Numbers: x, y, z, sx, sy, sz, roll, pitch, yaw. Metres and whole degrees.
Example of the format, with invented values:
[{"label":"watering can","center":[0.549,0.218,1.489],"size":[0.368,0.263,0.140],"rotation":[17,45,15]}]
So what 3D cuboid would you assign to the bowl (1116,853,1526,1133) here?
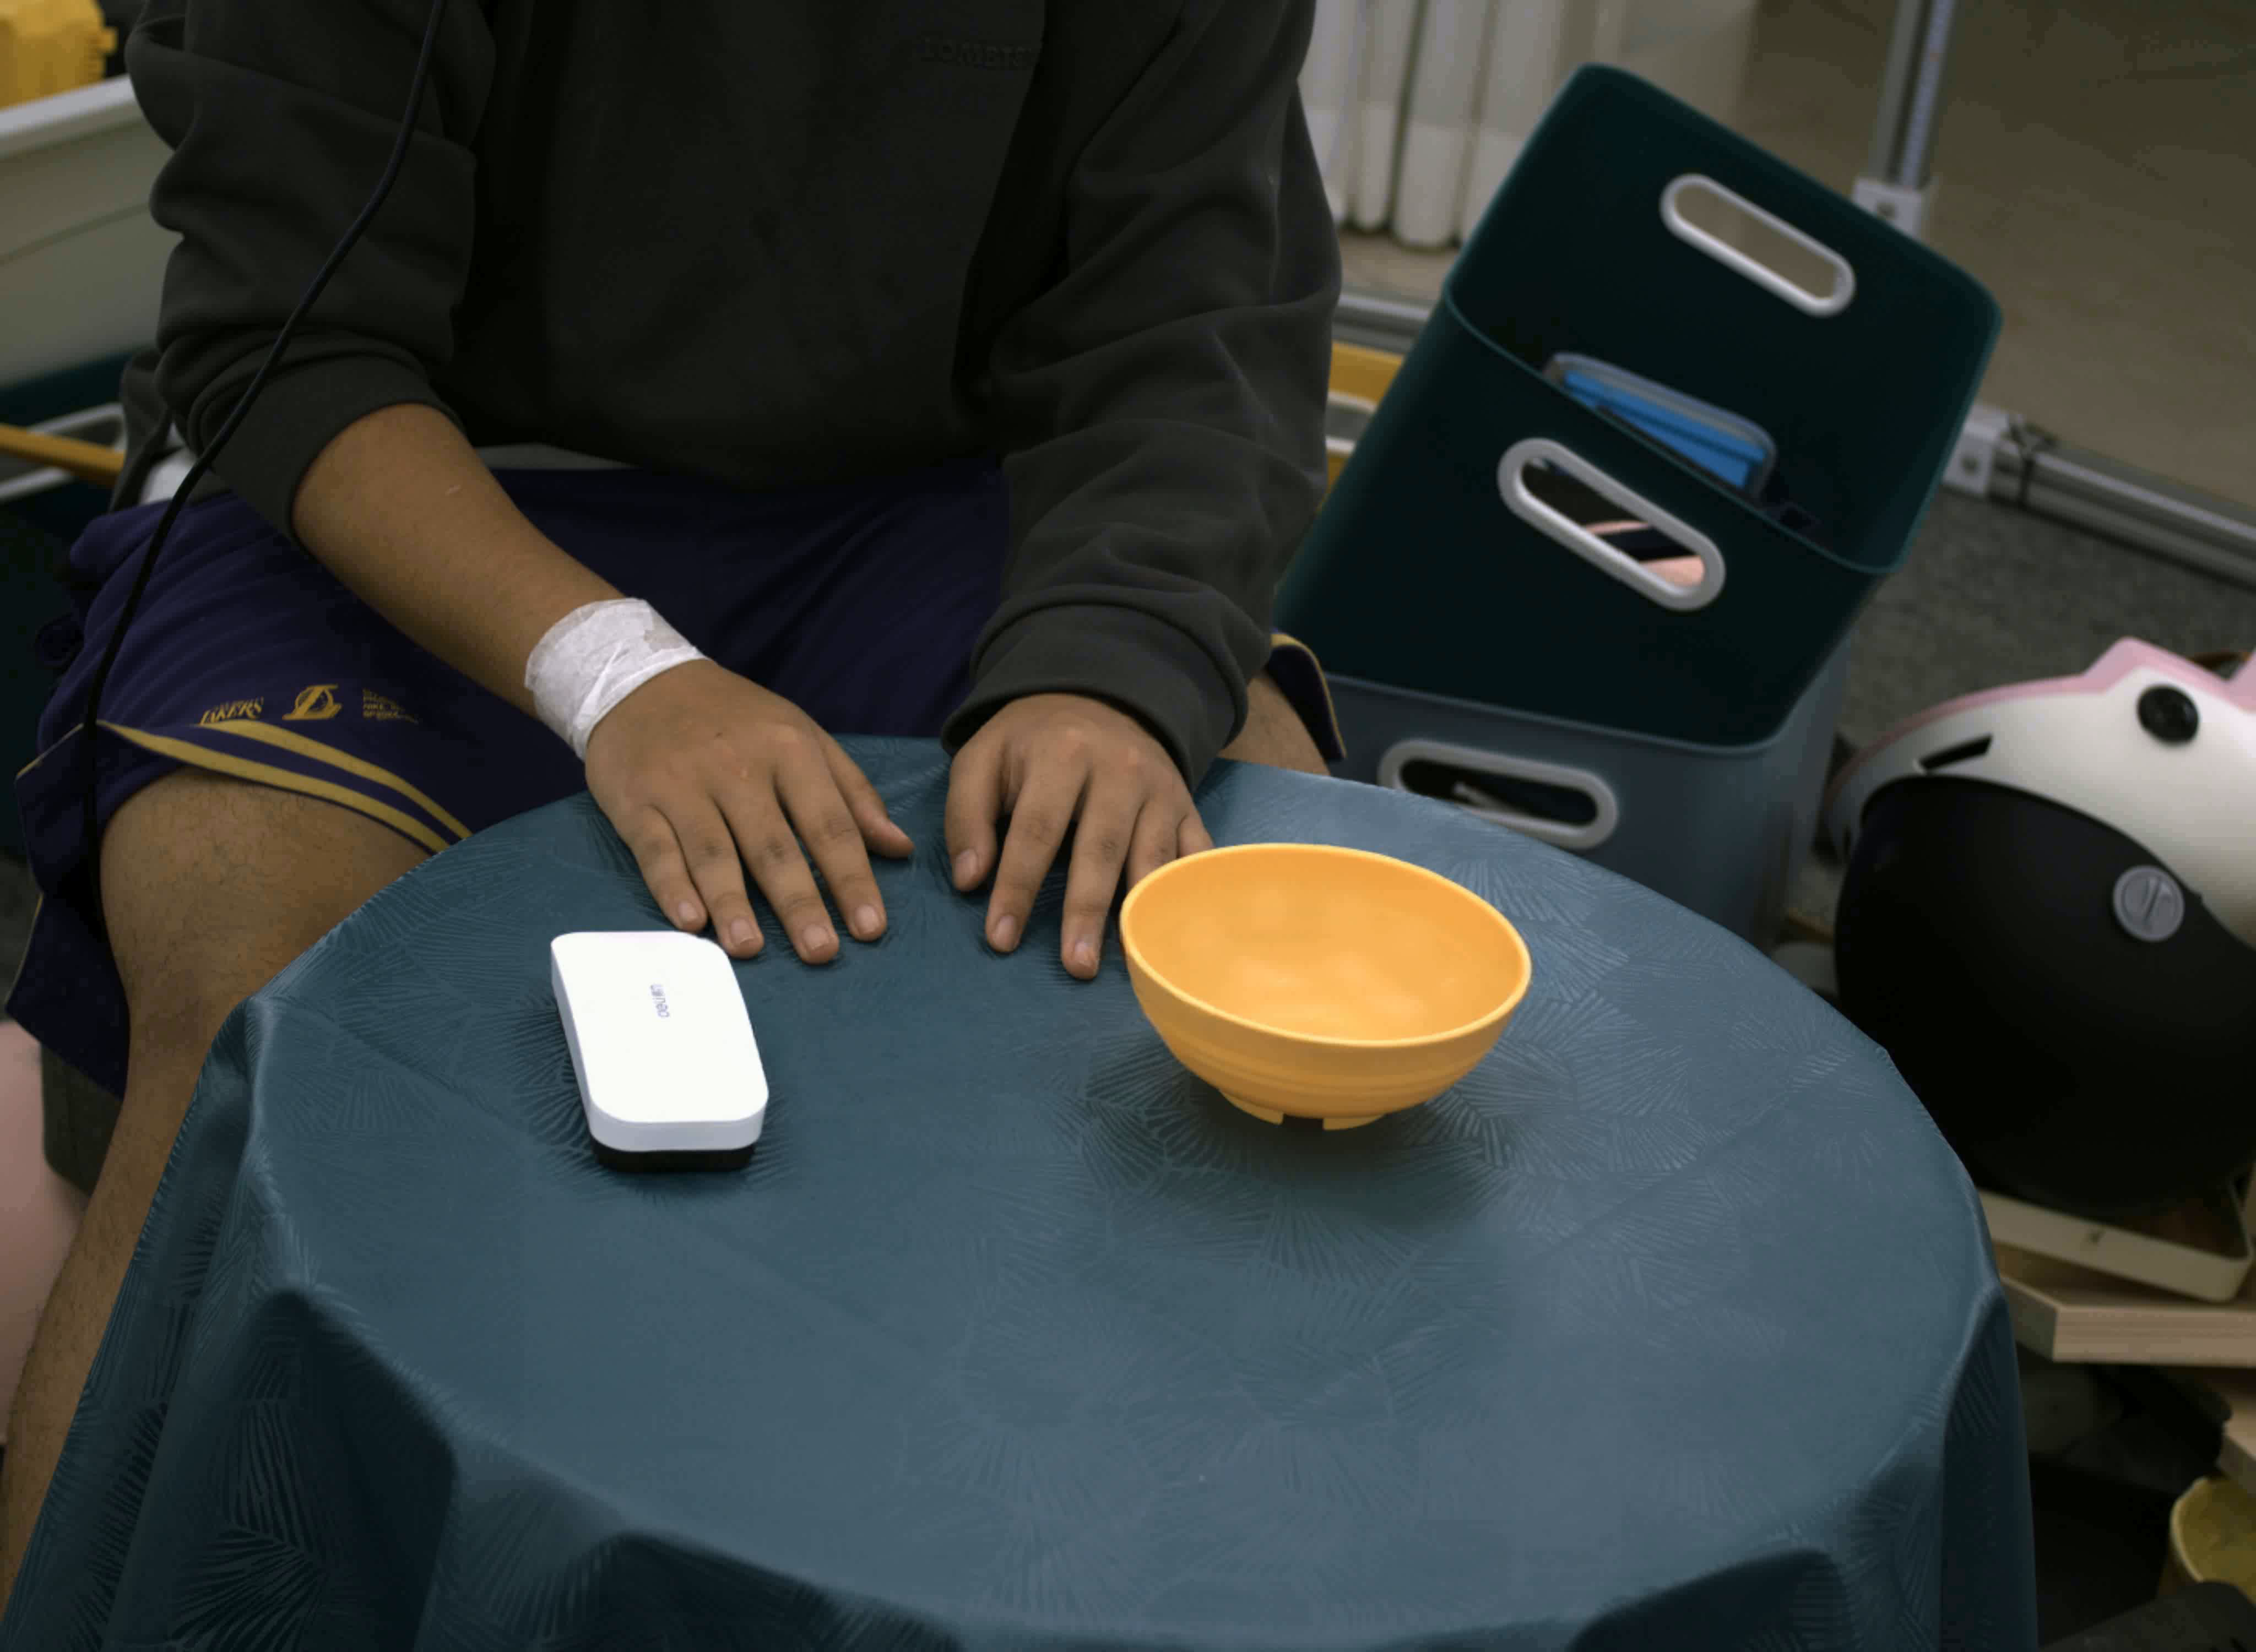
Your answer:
[{"label":"bowl","center":[0.064,0.067,1.867],"size":[0.145,0.060,0.146],"rotation":[5,24,-3]}]

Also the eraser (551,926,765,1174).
[{"label":"eraser","center":[-0.162,0.073,1.829],"size":[0.063,0.034,0.132],"rotation":[1,29,-13]}]
